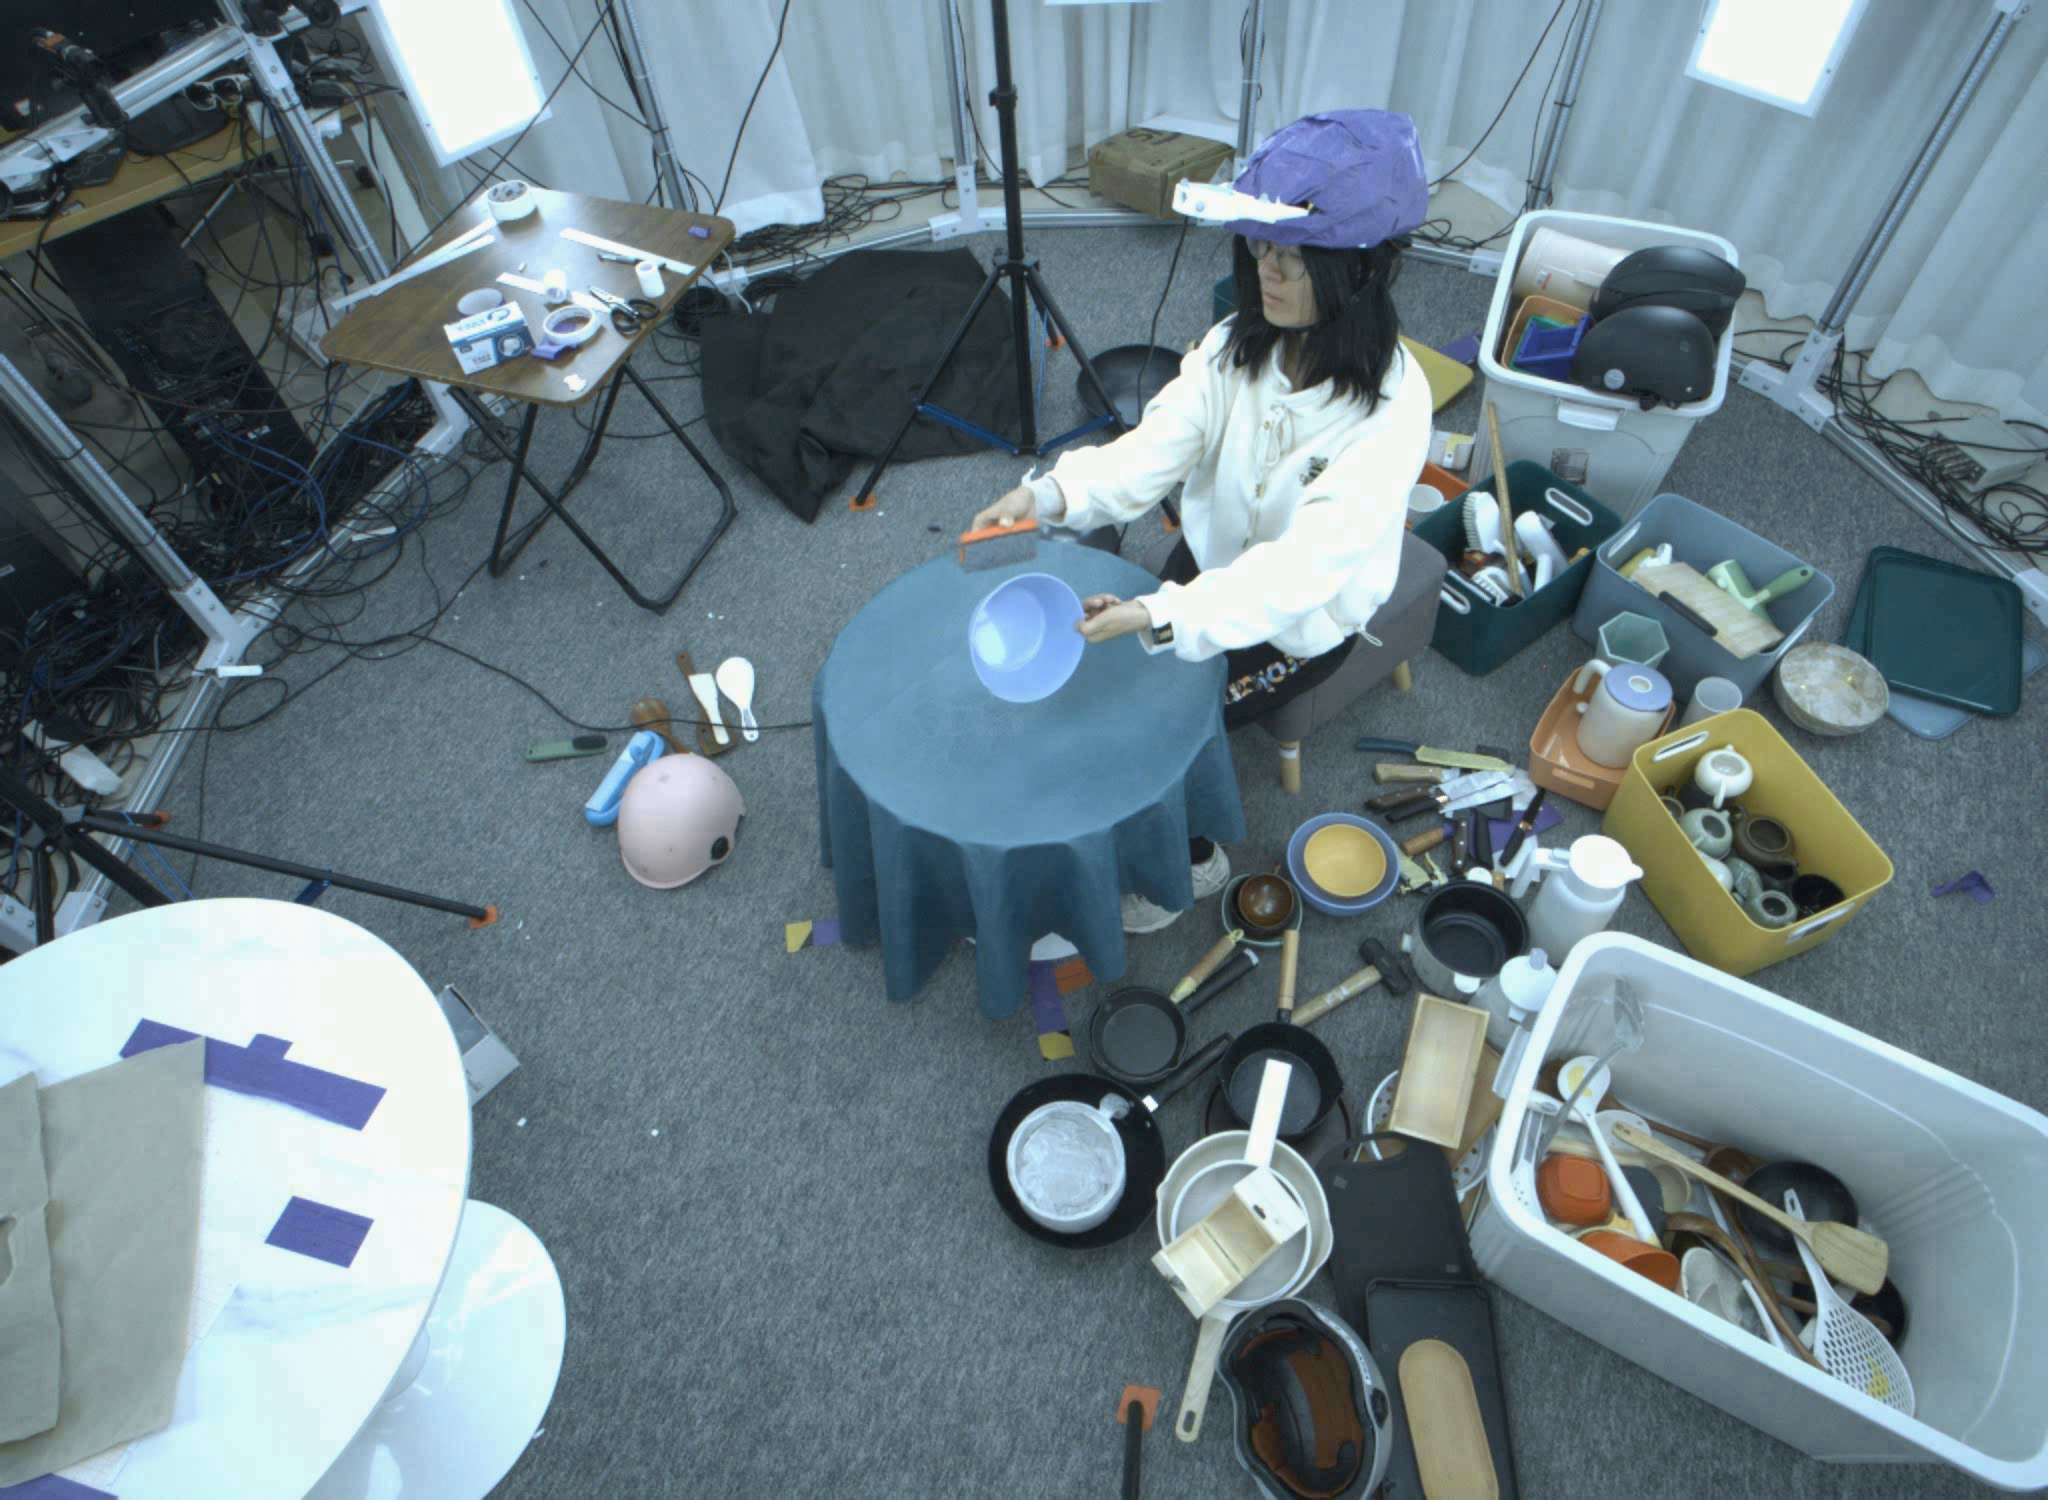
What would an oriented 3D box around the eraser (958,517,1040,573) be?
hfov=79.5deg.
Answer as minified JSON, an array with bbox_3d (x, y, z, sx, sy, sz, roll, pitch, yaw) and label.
[{"bbox_3d":[-0.034,-0.271,1.618,0.109,0.059,0.022,-16,57,-18],"label":"eraser"}]

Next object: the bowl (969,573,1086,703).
[{"bbox_3d":[-0.007,-0.156,1.655,0.177,0.179,0.068,-34,33,-19],"label":"bowl"}]
